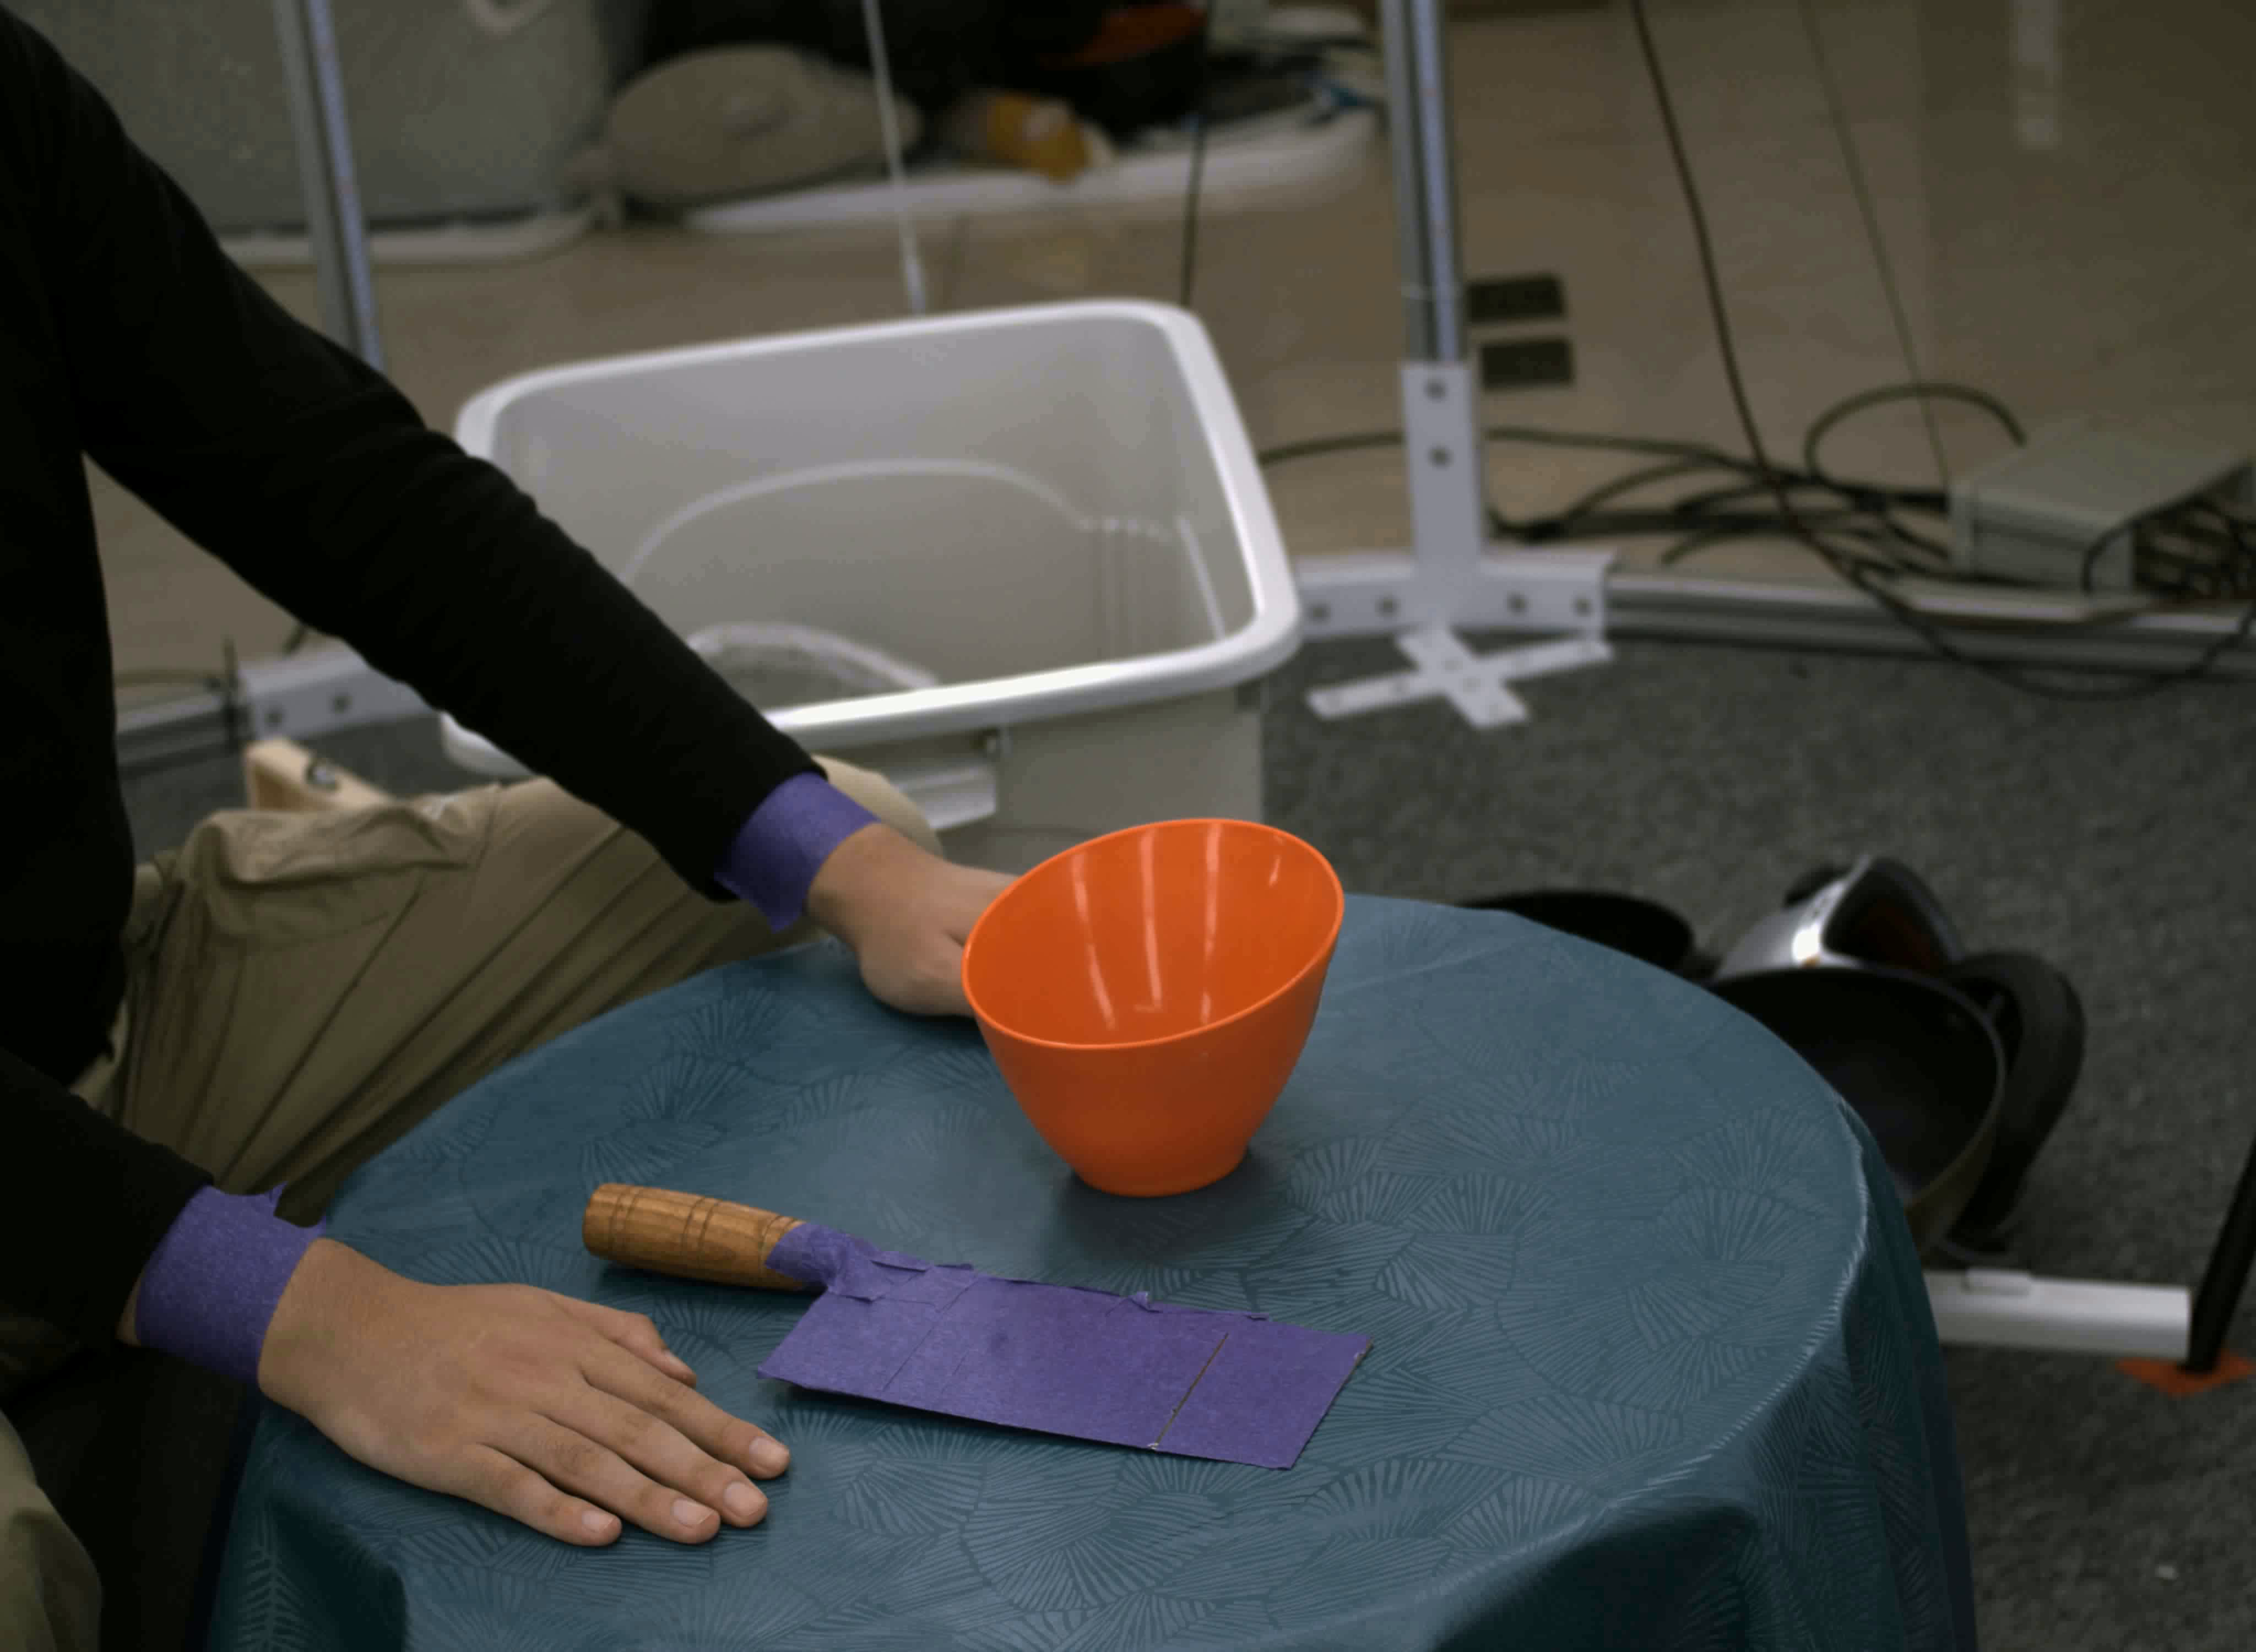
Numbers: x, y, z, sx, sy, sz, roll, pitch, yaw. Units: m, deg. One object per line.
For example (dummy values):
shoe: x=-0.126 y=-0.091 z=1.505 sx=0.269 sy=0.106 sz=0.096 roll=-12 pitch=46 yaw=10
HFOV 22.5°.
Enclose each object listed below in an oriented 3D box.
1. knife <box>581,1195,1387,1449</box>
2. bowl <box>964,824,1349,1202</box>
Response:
knife: x=-0.068 y=0.179 z=2.050 sx=0.314 sy=0.033 sz=0.102 roll=5 pitch=27 yaw=22
bowl: x=0.014 y=0.077 z=2.158 sx=0.148 sy=0.106 sz=0.146 roll=-5 pitch=27 yaw=2
